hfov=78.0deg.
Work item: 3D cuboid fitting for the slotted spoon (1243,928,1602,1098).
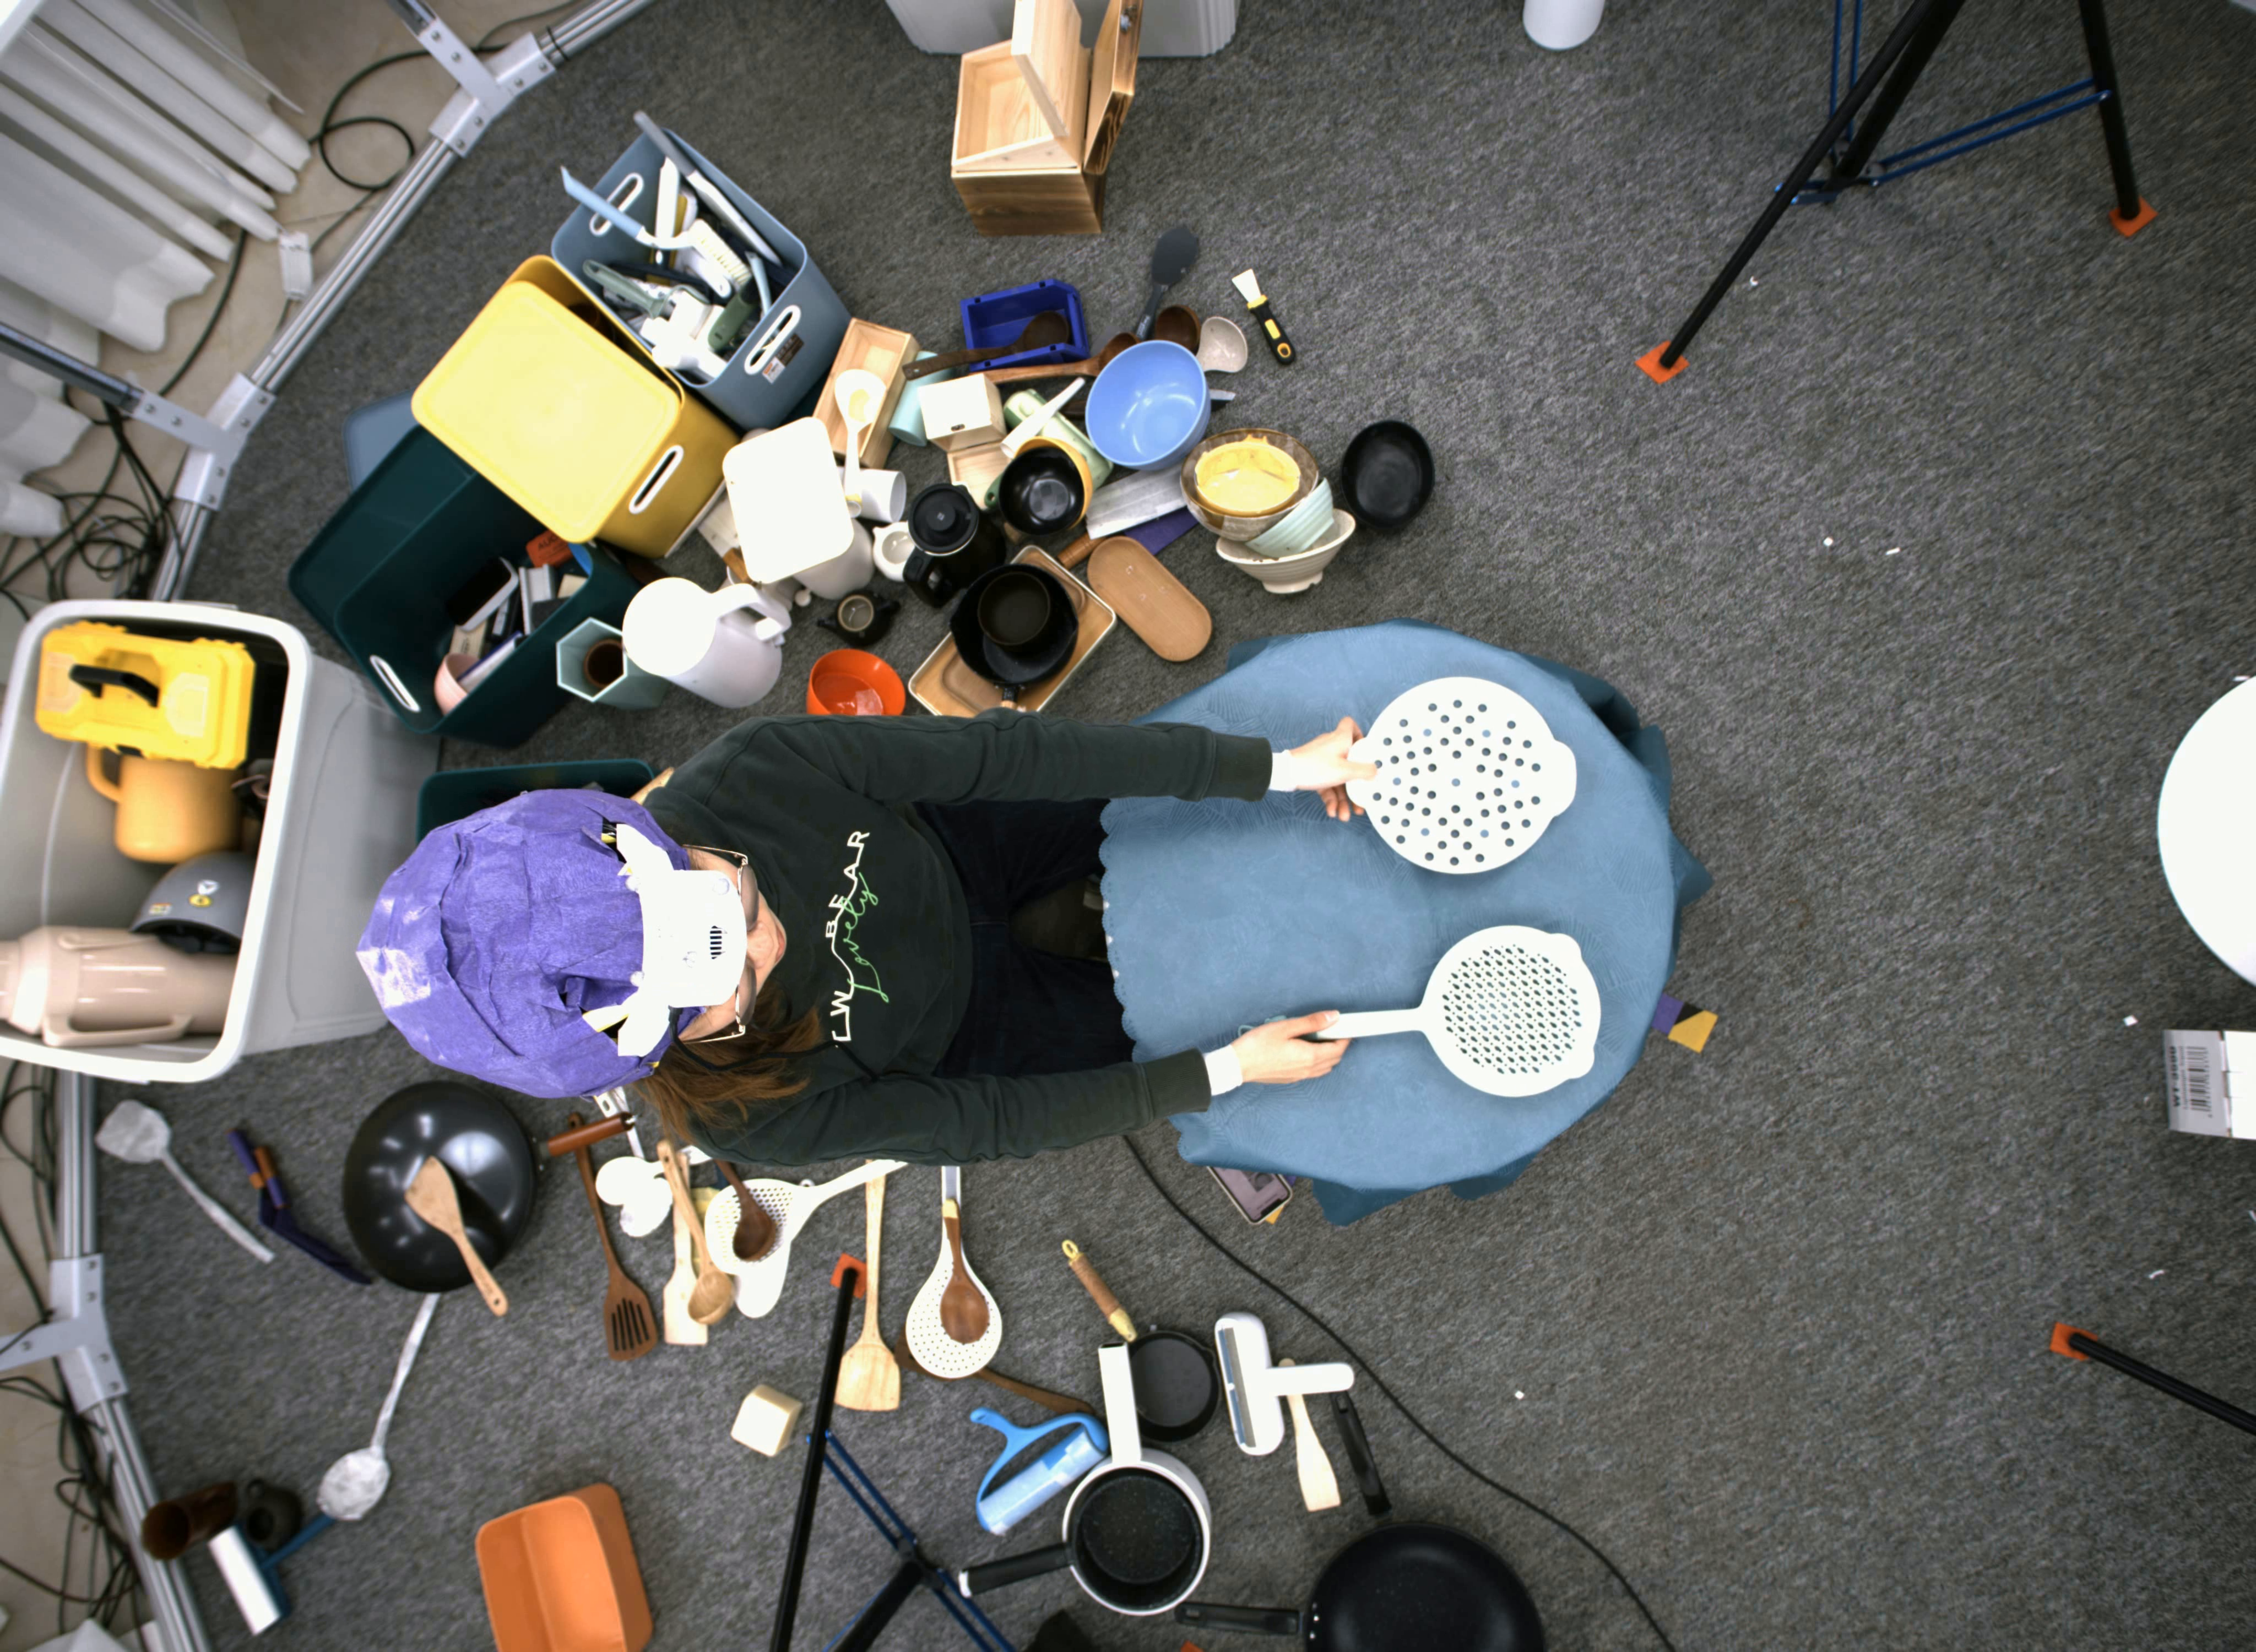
[{"bbox_3d":[0.295,0.198,1.415,0.360,0.075,0.168,-6,82,7],"label":"slotted spoon"}]

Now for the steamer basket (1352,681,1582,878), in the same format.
[{"bbox_3d":[0.349,-0.048,1.426,0.231,0.069,0.201,0,85,11],"label":"steamer basket"}]
